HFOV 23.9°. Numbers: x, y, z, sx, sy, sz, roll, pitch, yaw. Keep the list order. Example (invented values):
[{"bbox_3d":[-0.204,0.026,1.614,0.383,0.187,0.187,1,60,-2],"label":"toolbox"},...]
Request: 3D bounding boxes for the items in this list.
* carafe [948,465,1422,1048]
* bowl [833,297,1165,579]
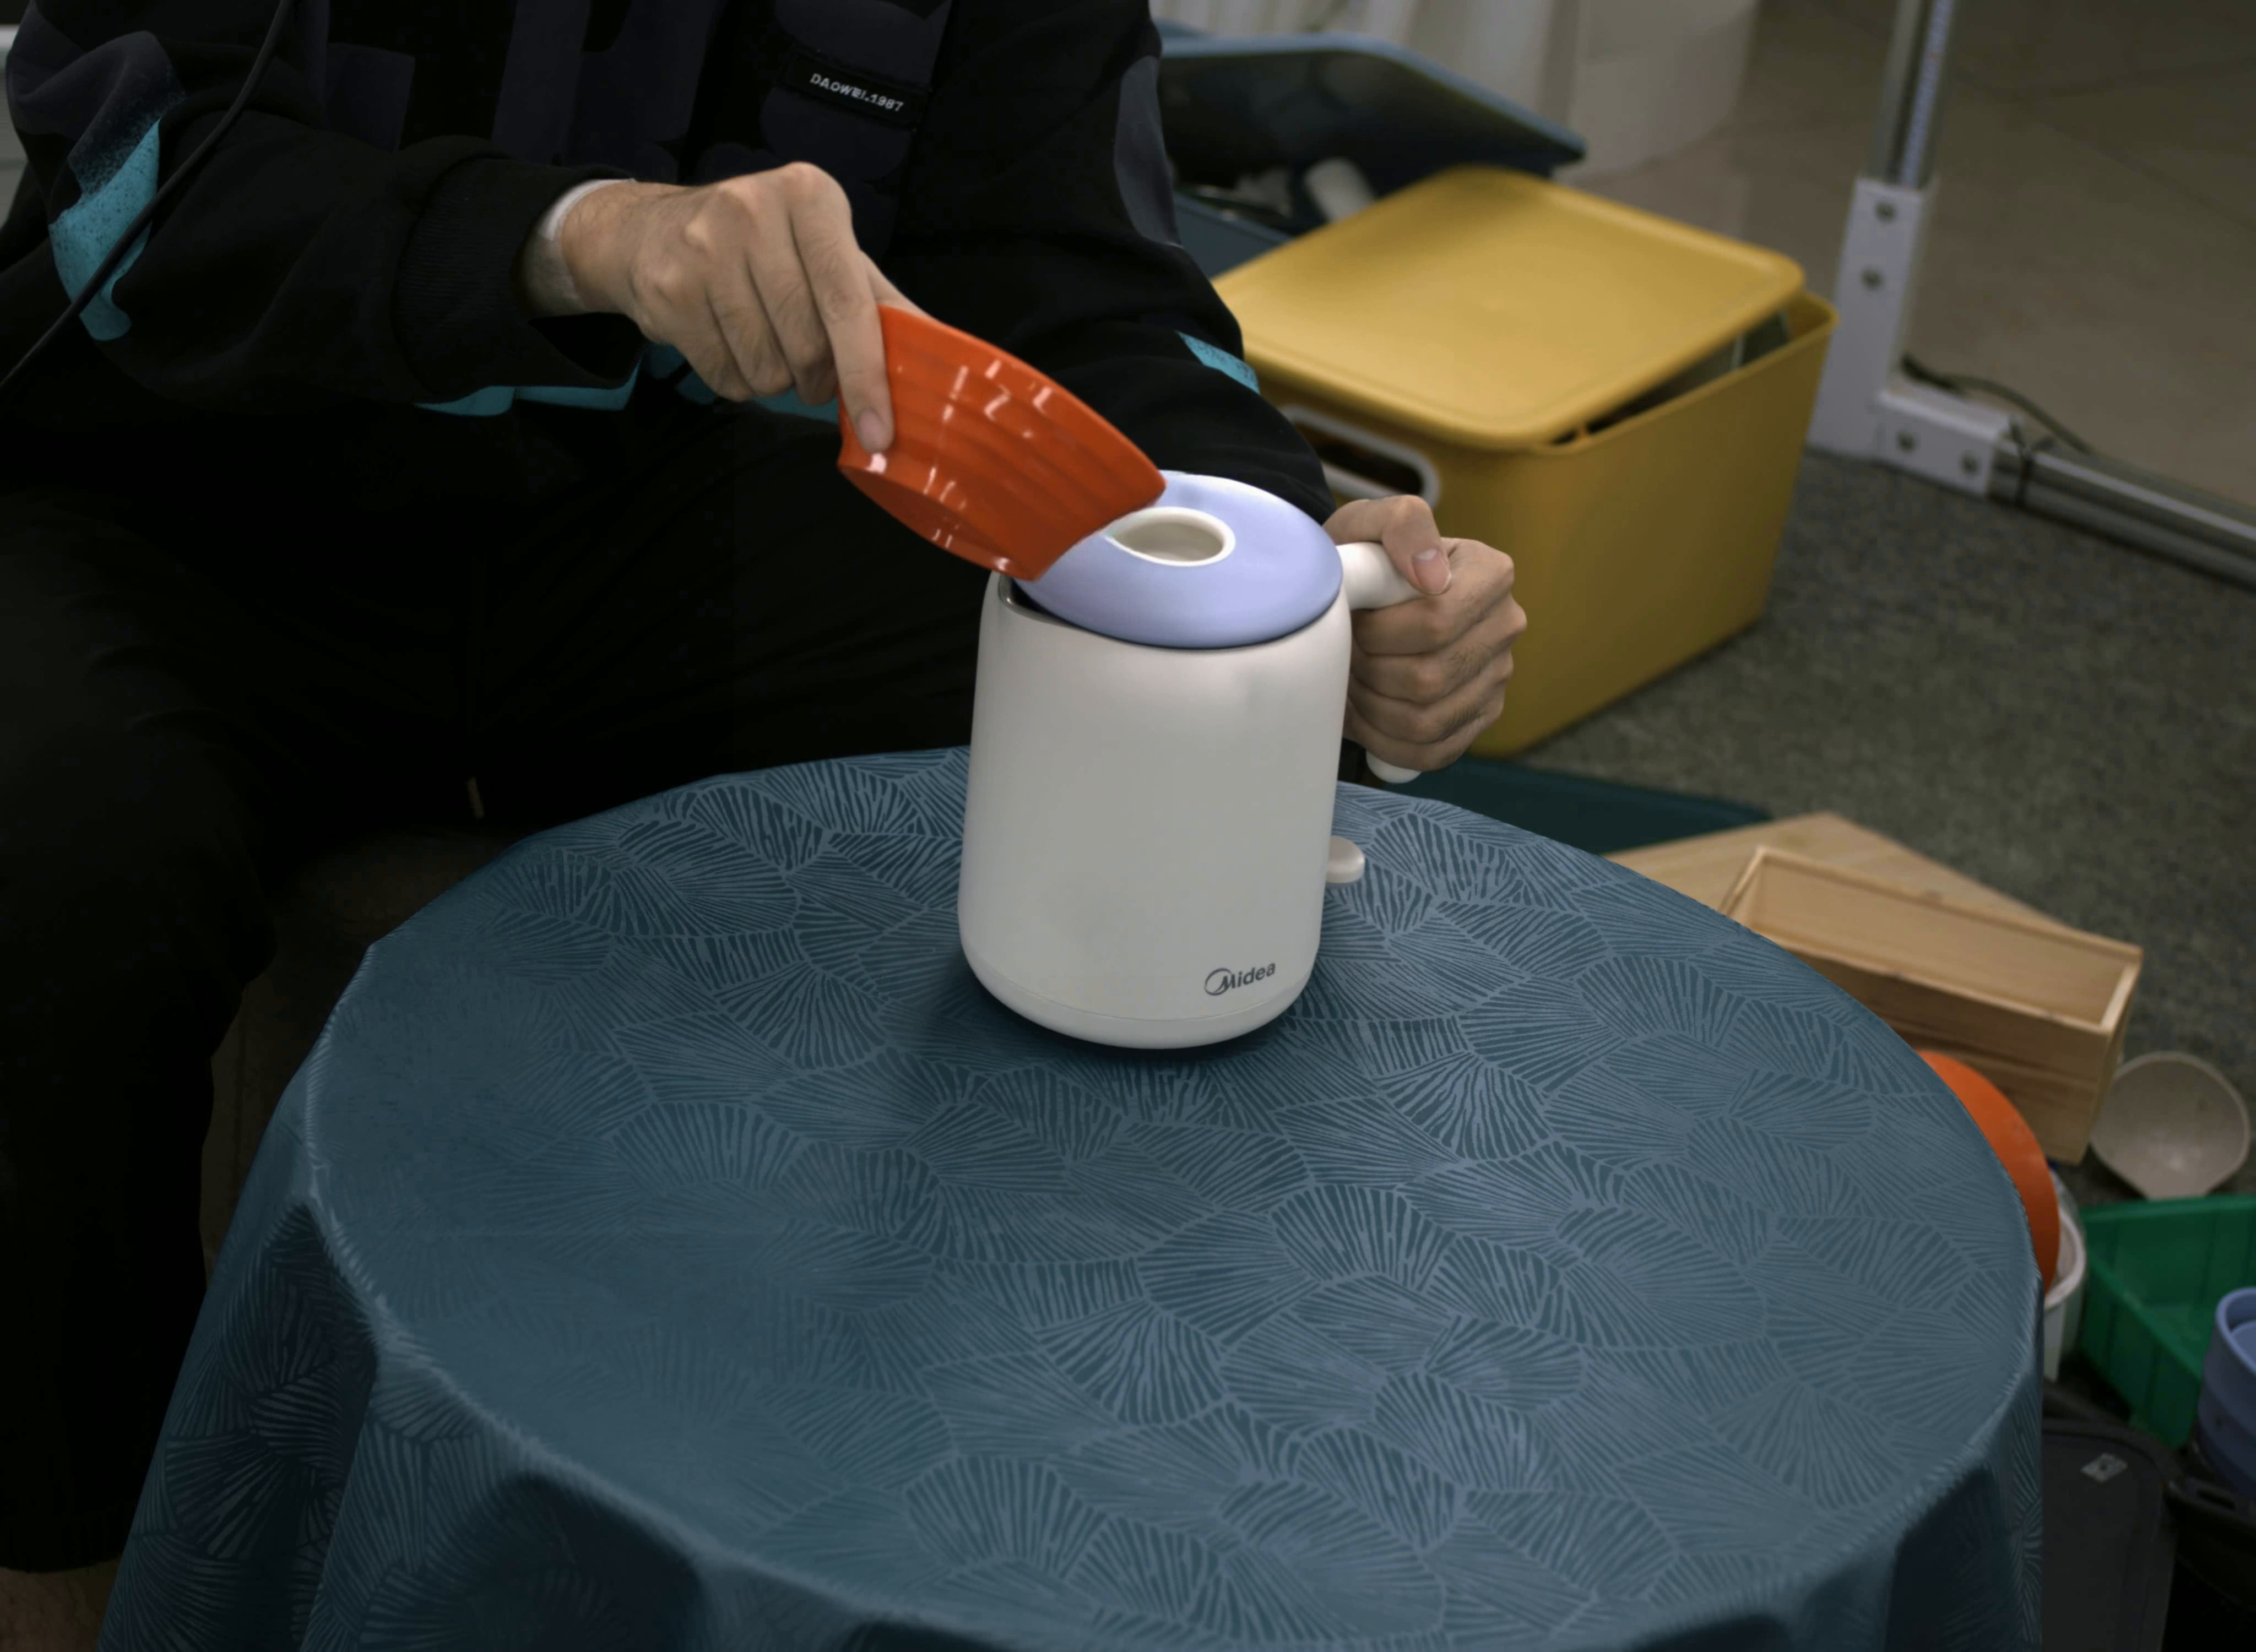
[{"bbox_3d":[0.028,-0.030,1.895,0.190,0.182,0.133,-13,37,-32],"label":"carafe"},{"bbox_3d":[-0.051,-0.122,1.746,0.119,0.051,0.119,30,-6,3],"label":"bowl"}]
